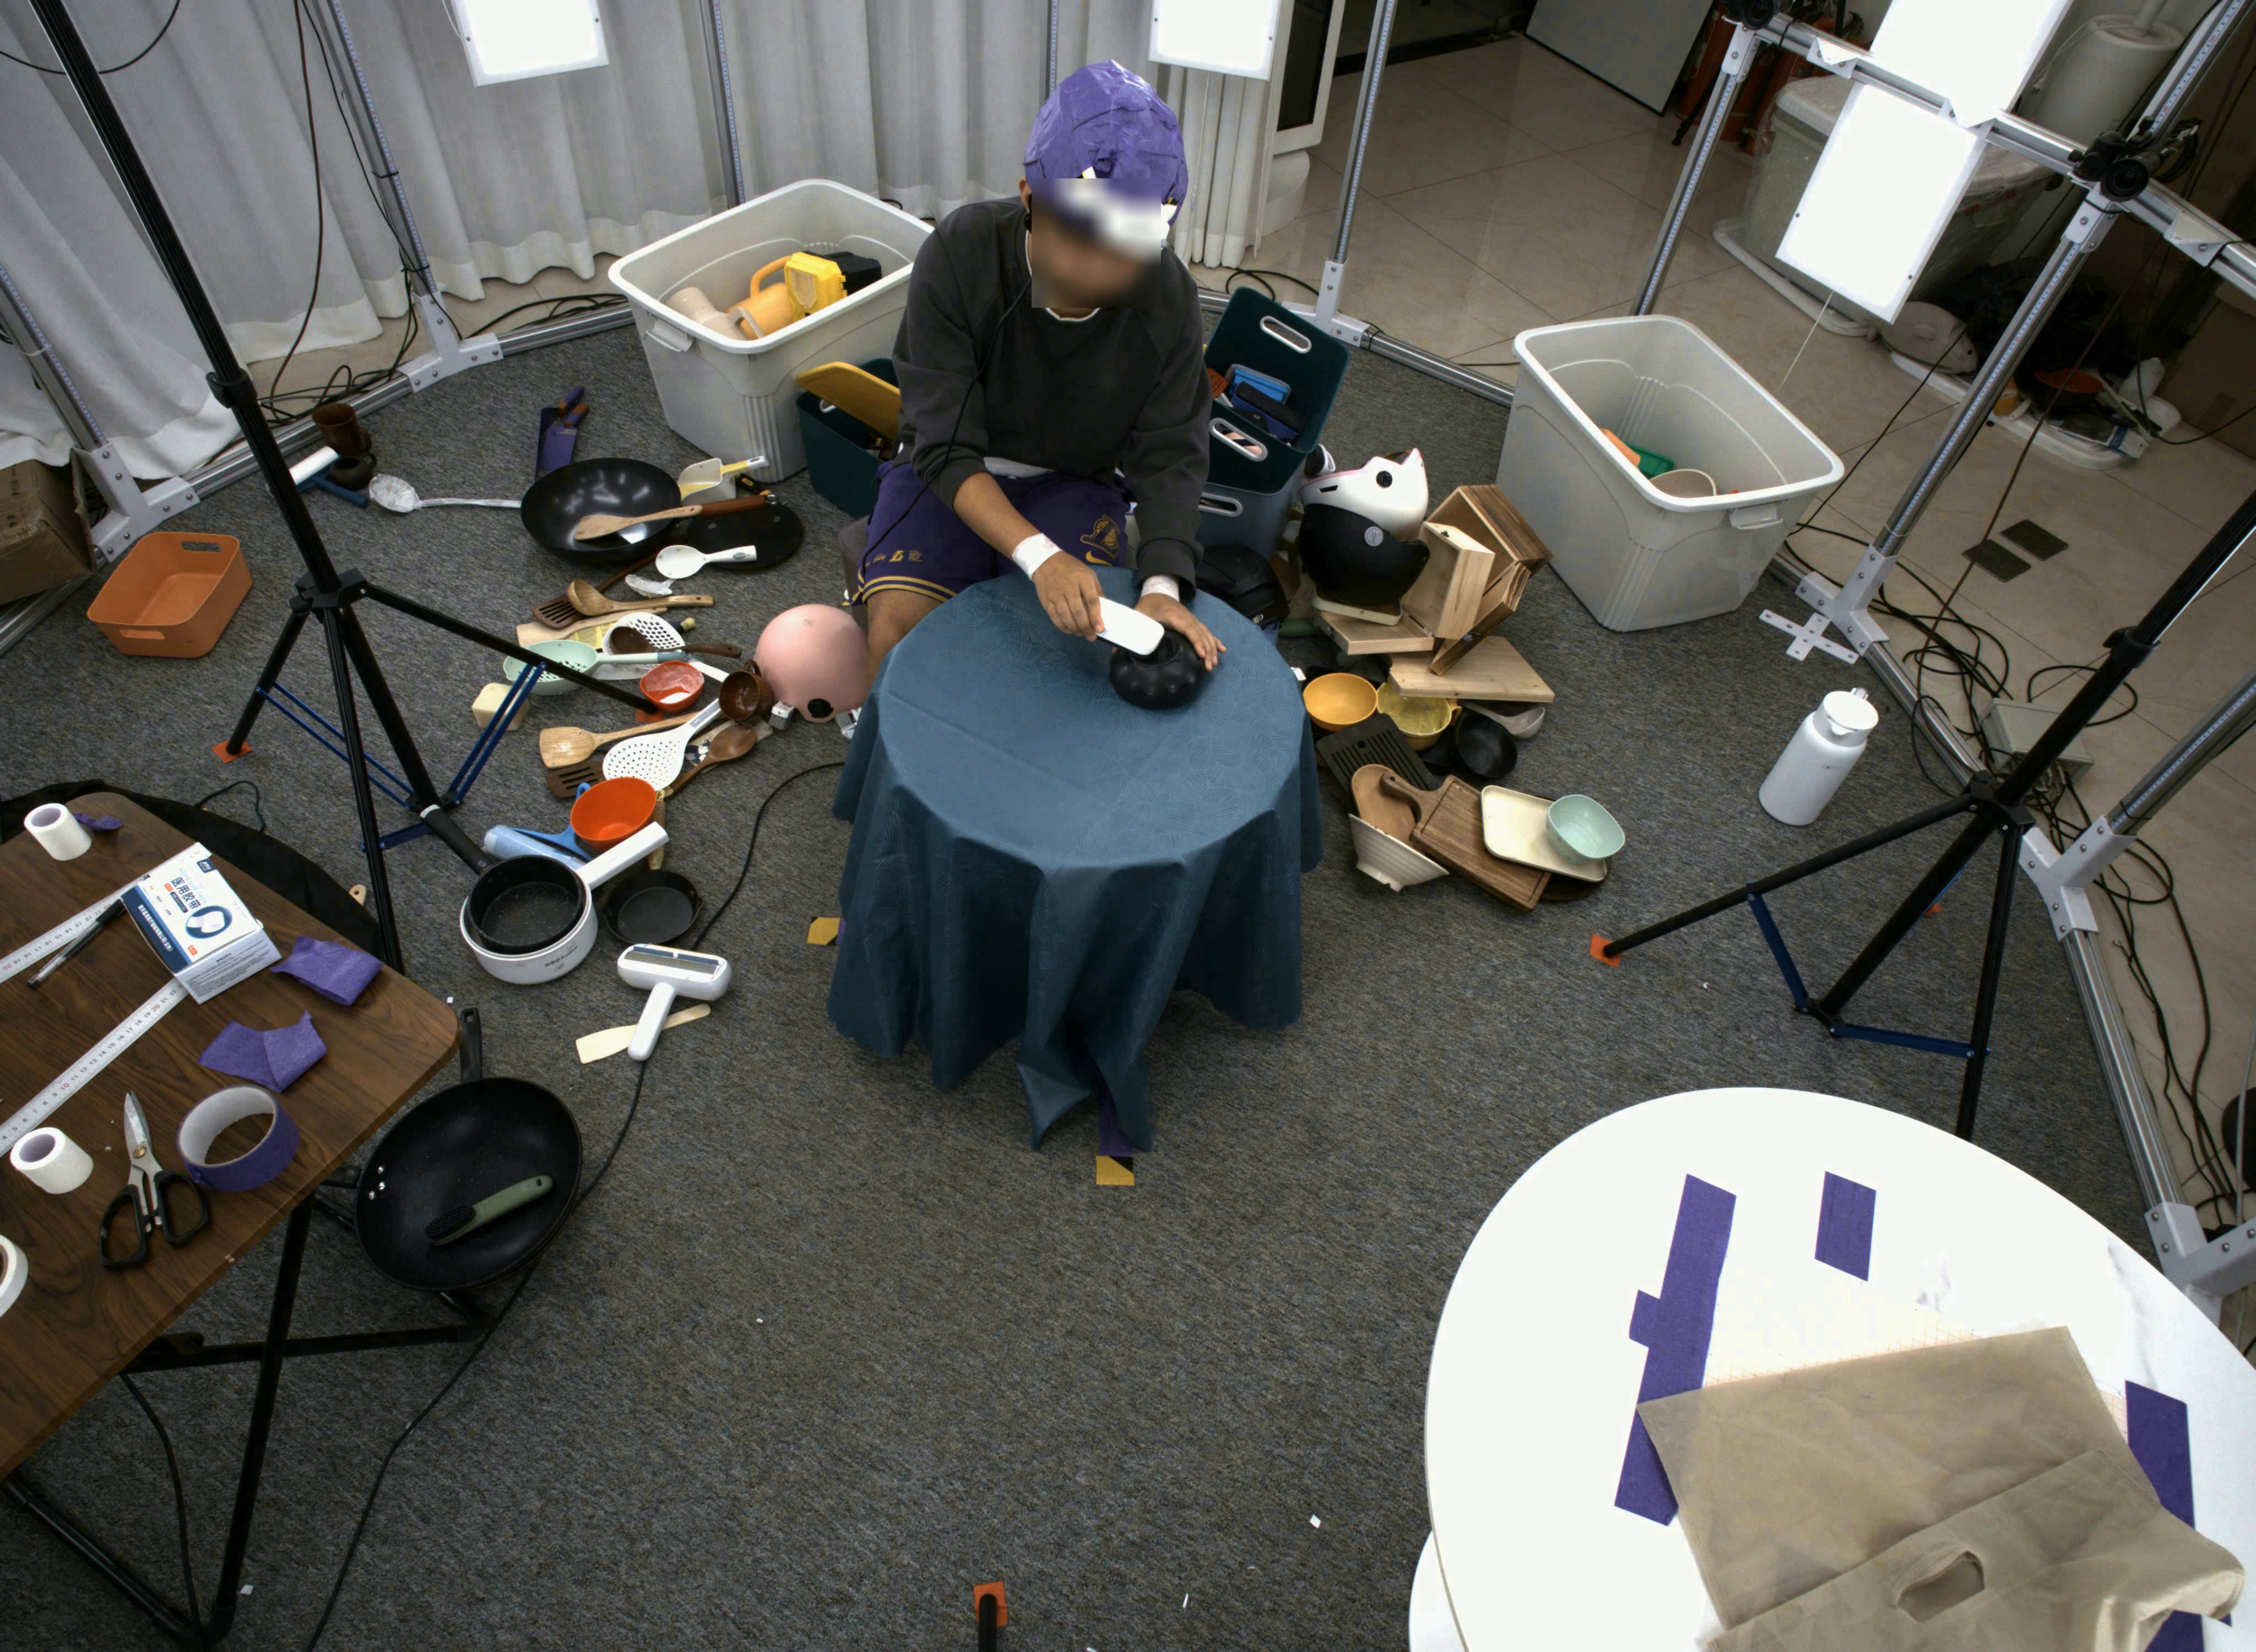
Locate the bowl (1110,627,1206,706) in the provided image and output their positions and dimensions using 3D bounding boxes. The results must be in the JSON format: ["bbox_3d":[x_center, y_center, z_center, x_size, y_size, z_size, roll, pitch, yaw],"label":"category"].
[{"bbox_3d":[0.040,-0.238,1.829,0.140,0.048,0.143,-4,51,5],"label":"bowl"}]

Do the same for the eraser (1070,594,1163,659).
[{"bbox_3d":[-0.017,-0.285,1.813,0.132,0.034,0.064,28,47,12],"label":"eraser"}]
